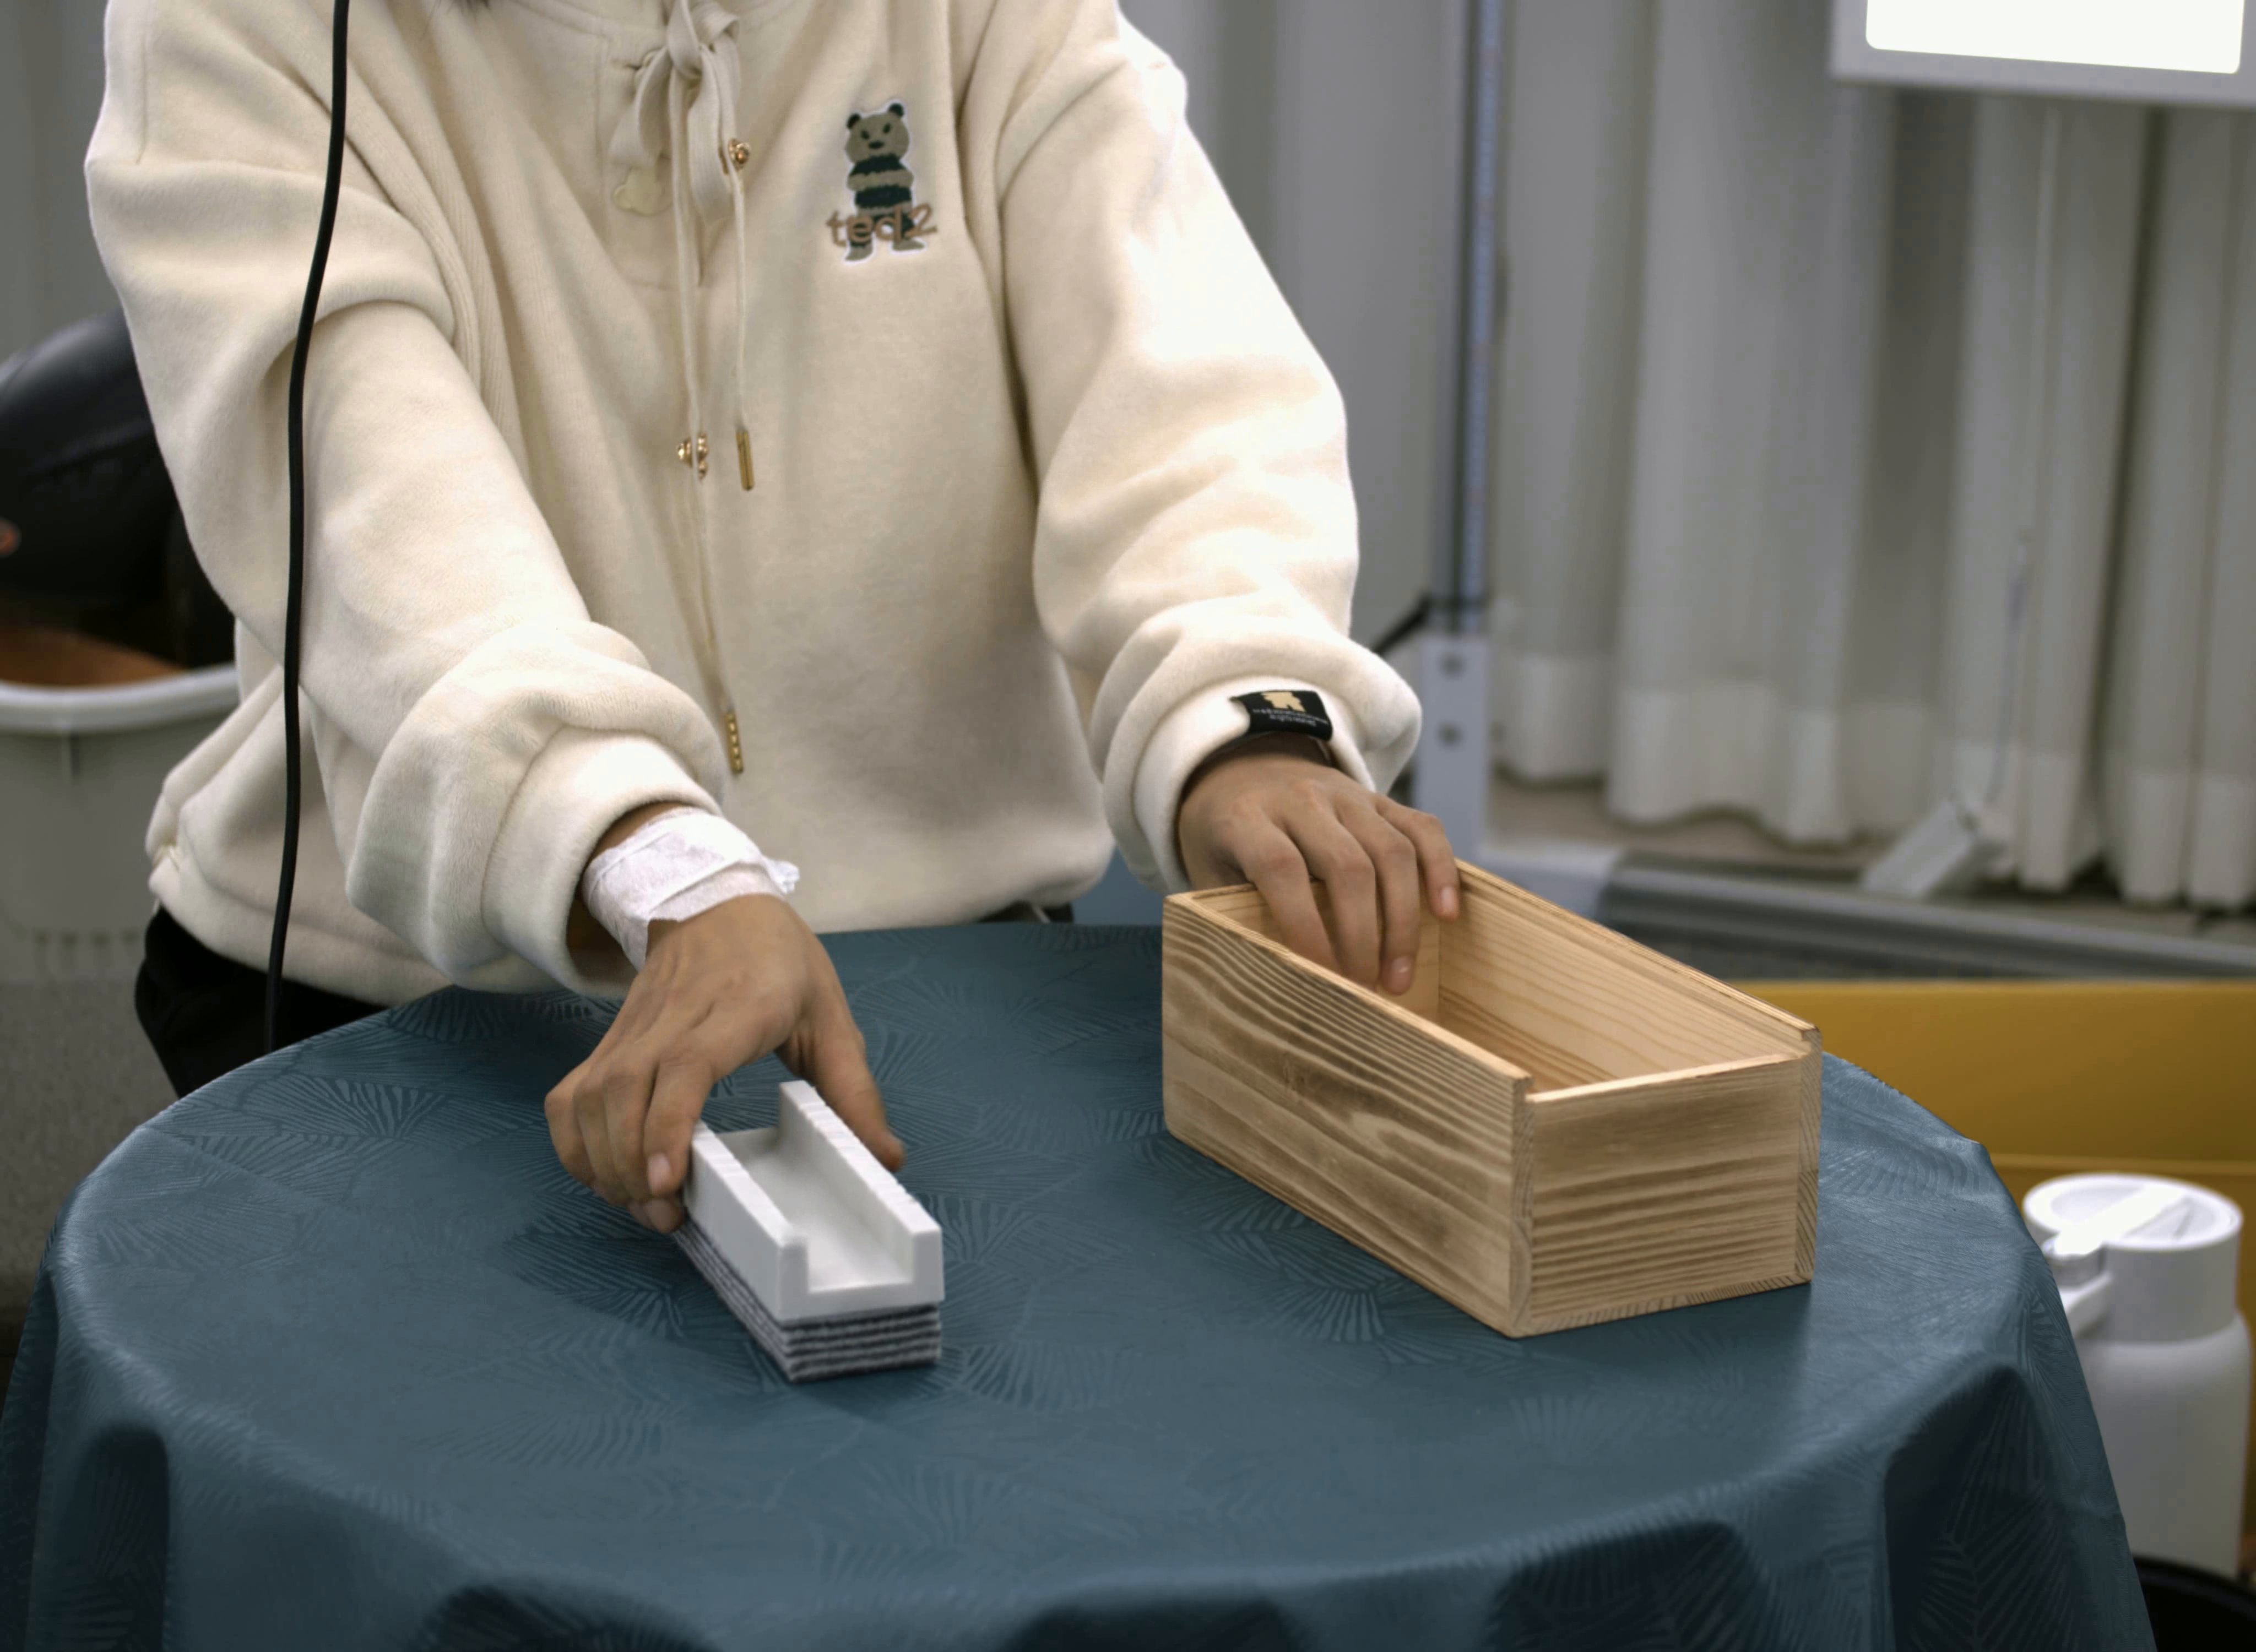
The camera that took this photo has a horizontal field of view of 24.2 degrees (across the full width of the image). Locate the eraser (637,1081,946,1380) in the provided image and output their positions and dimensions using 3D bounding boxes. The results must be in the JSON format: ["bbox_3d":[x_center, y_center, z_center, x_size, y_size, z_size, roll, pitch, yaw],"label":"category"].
[{"bbox_3d":[-0.098,0.115,1.519,0.050,0.047,0.132,-9,19,-21],"label":"eraser"}]

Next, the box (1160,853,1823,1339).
[{"bbox_3d":[0.106,0.077,1.602,0.108,0.081,0.209,-8,18,-28],"label":"box"}]
